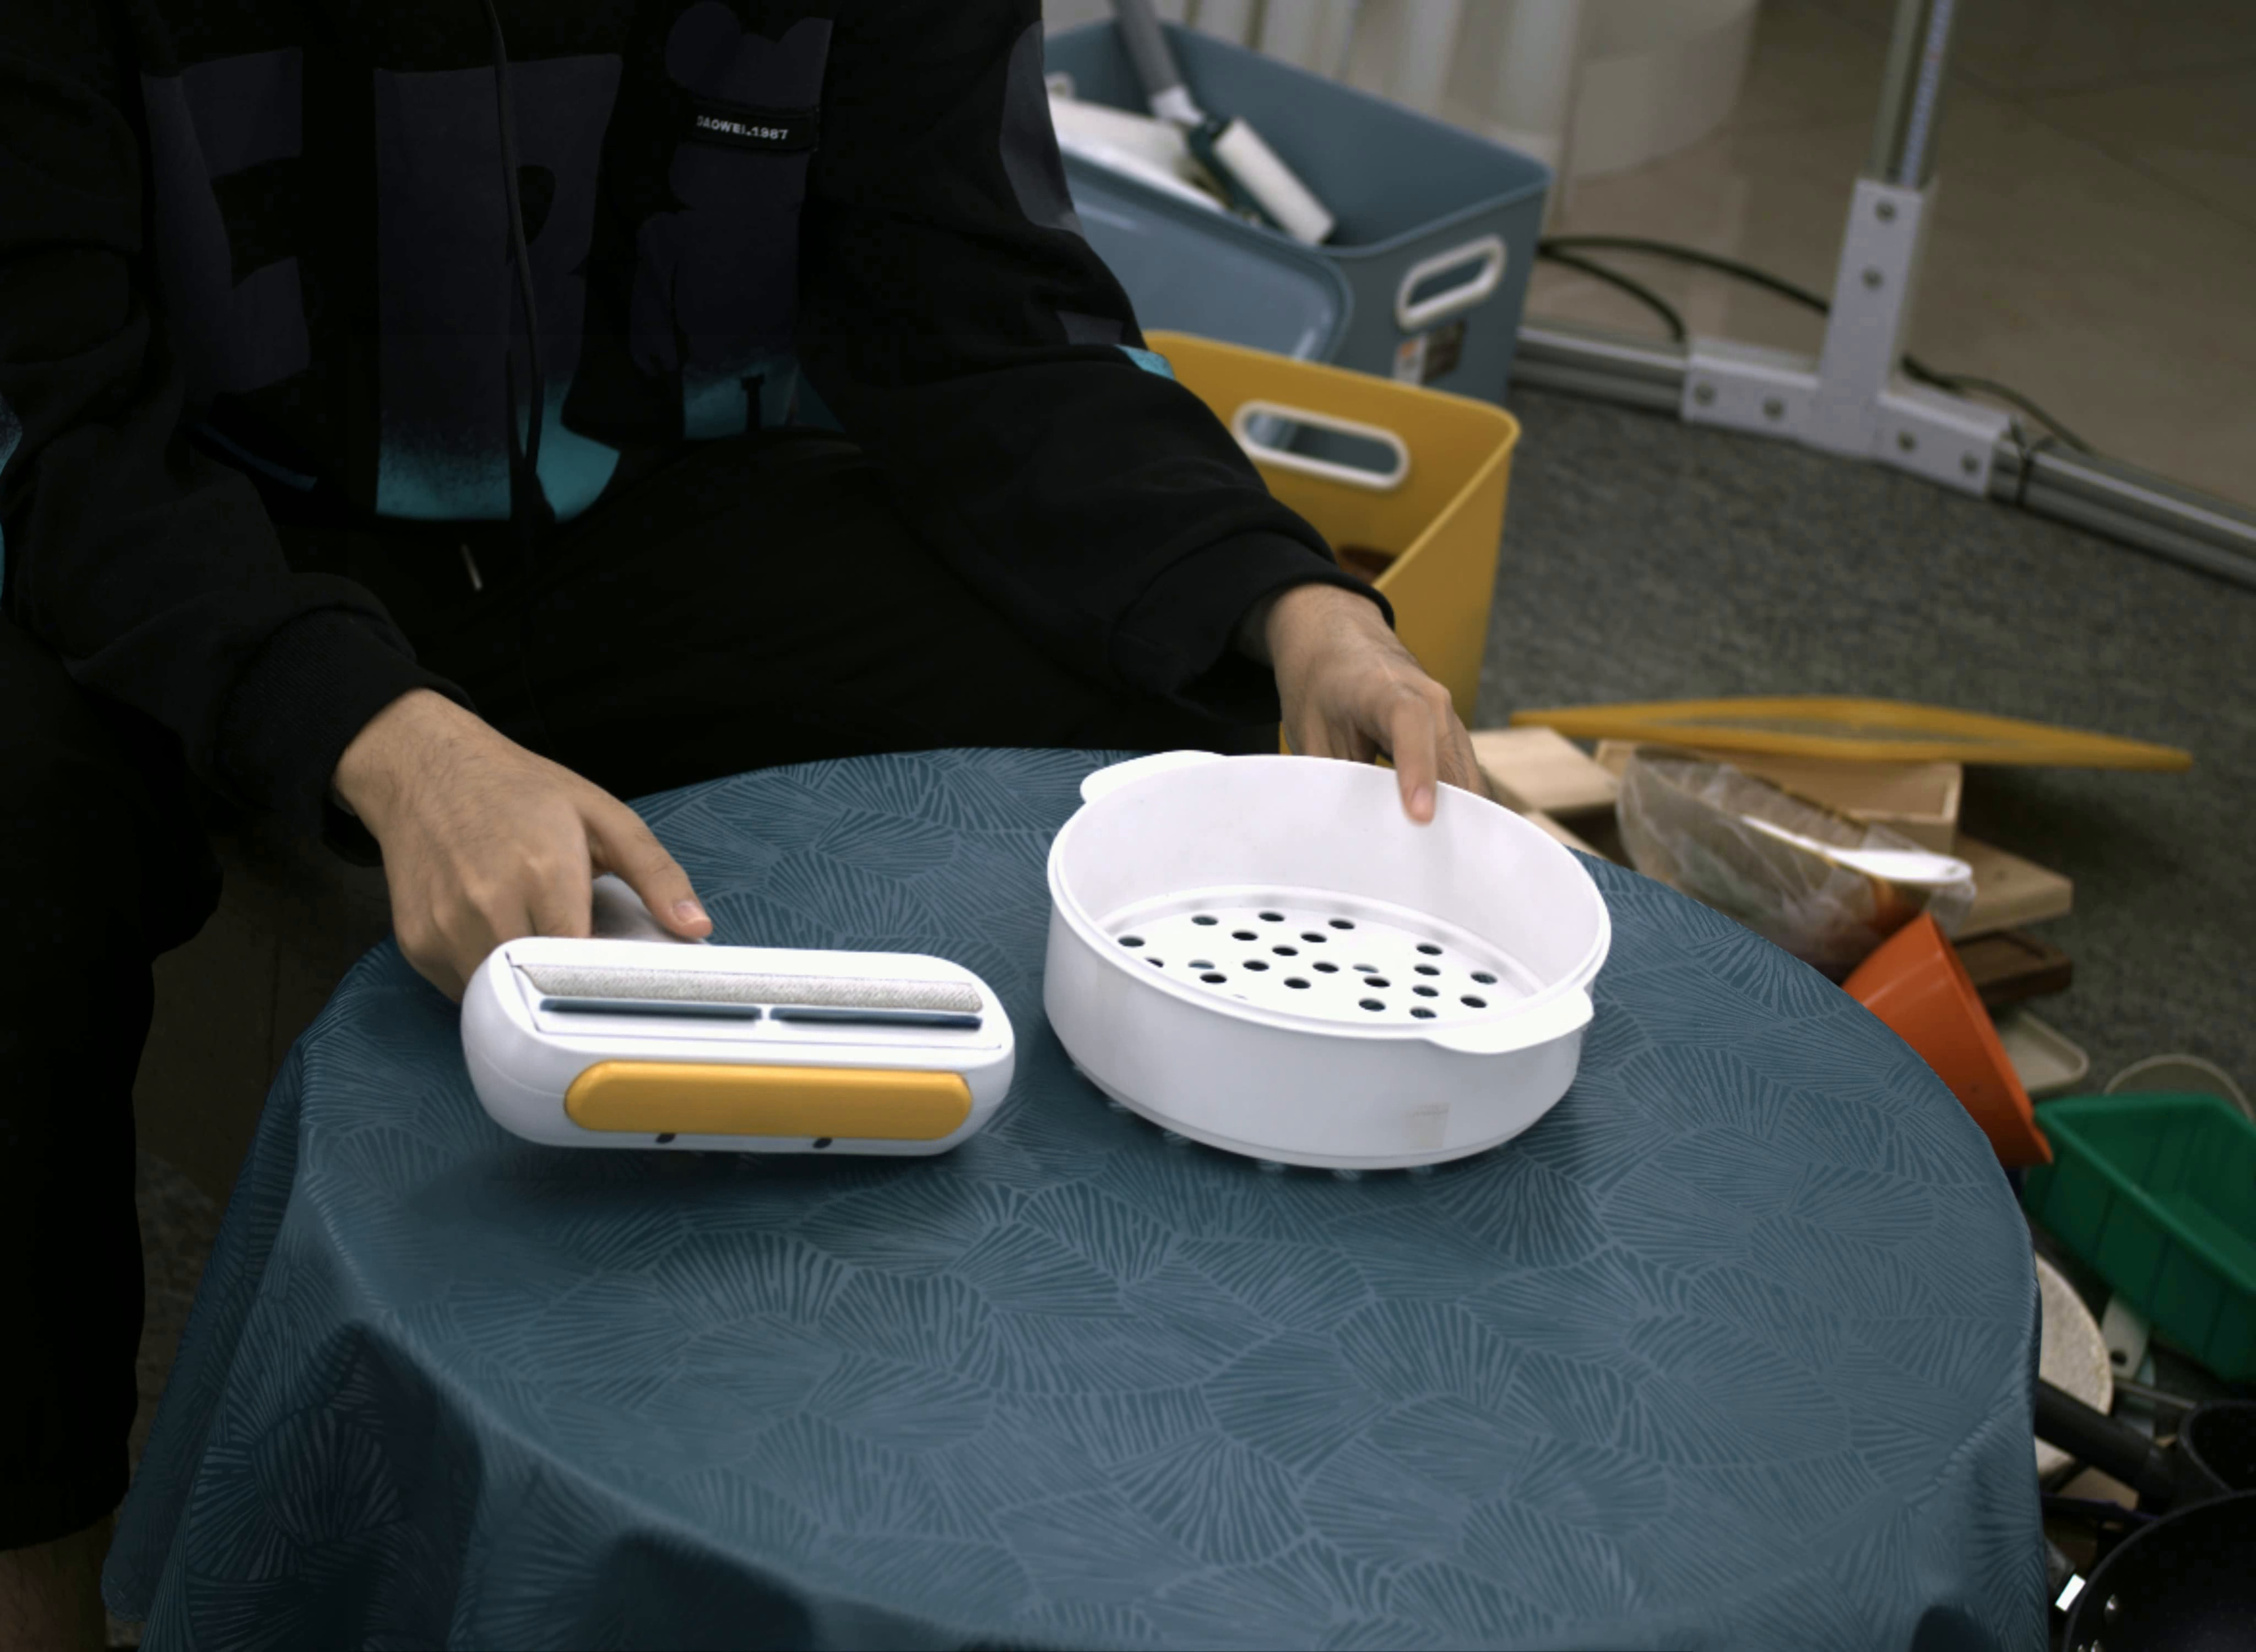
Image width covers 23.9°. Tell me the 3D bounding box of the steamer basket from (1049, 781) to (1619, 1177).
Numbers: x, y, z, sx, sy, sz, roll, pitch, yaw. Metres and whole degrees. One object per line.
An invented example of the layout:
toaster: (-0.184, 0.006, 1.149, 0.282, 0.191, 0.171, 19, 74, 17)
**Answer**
steamer basket: (0.070, 0.055, 1.883, 0.200, 0.069, 0.232, -13, 30, -36)

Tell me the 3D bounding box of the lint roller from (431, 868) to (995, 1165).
lint roller: (-0.157, 0.052, 1.823, 0.191, 0.074, 0.194, 1, 28, -22)
